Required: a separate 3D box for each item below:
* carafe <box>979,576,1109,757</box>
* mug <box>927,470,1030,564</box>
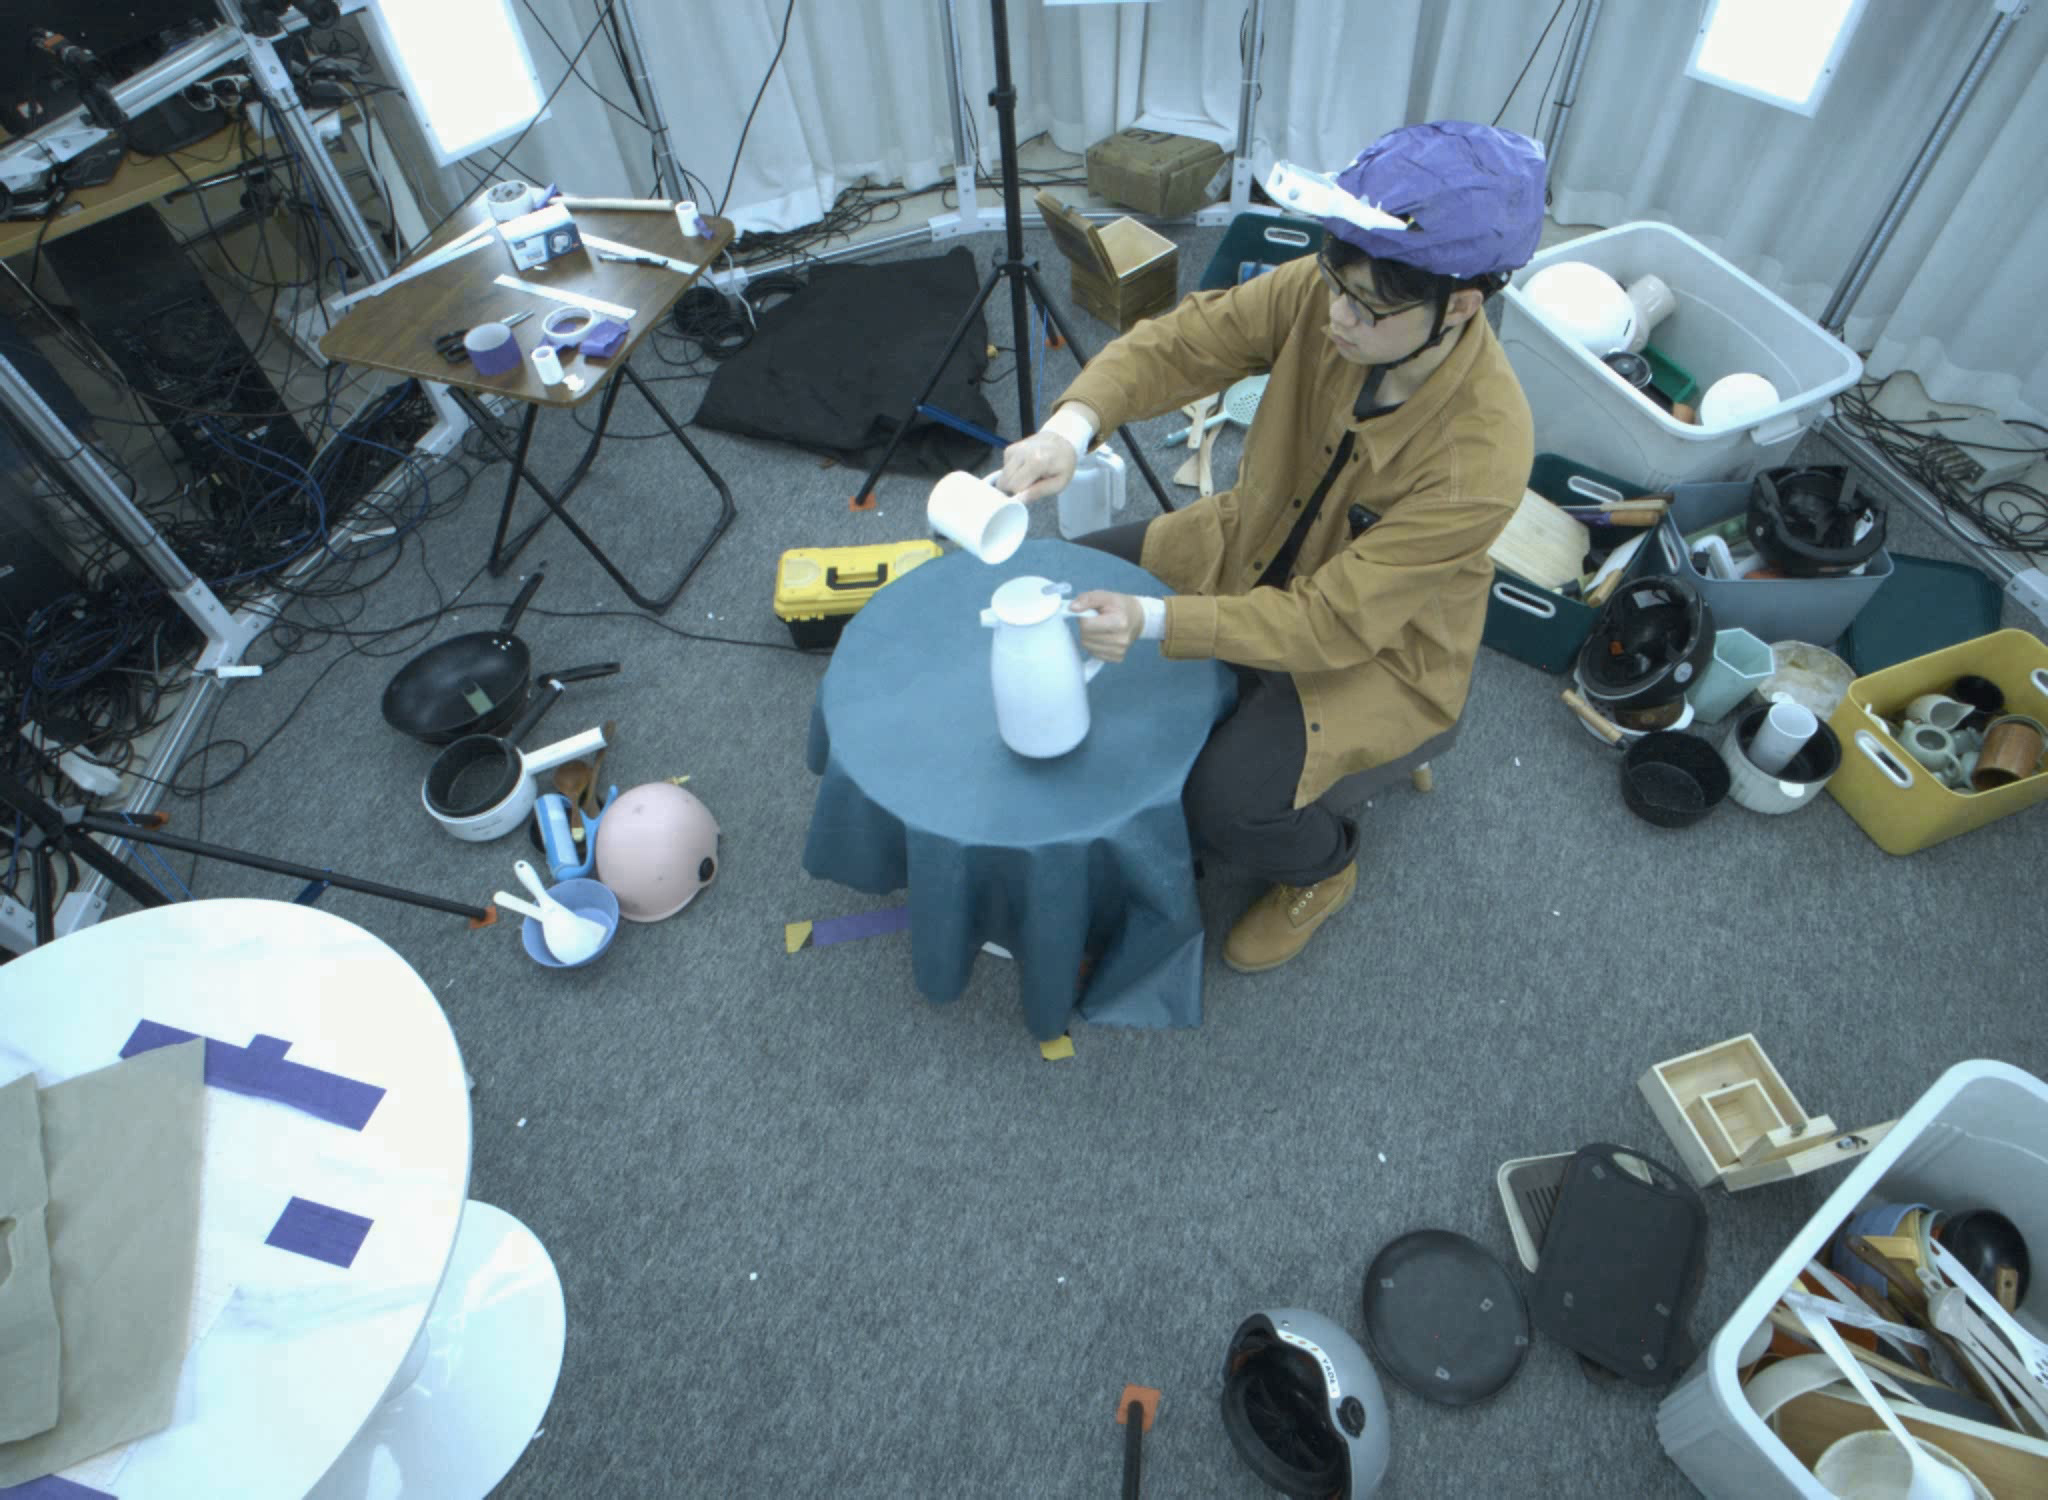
[{"bbox_3d":[0.034,-0.124,1.672,0.168,0.252,0.130,-12,49,-3],"label":"carafe"},{"bbox_3d":[-0.051,-0.306,1.539,0.100,0.086,0.118,36,81,28],"label":"mug"}]
